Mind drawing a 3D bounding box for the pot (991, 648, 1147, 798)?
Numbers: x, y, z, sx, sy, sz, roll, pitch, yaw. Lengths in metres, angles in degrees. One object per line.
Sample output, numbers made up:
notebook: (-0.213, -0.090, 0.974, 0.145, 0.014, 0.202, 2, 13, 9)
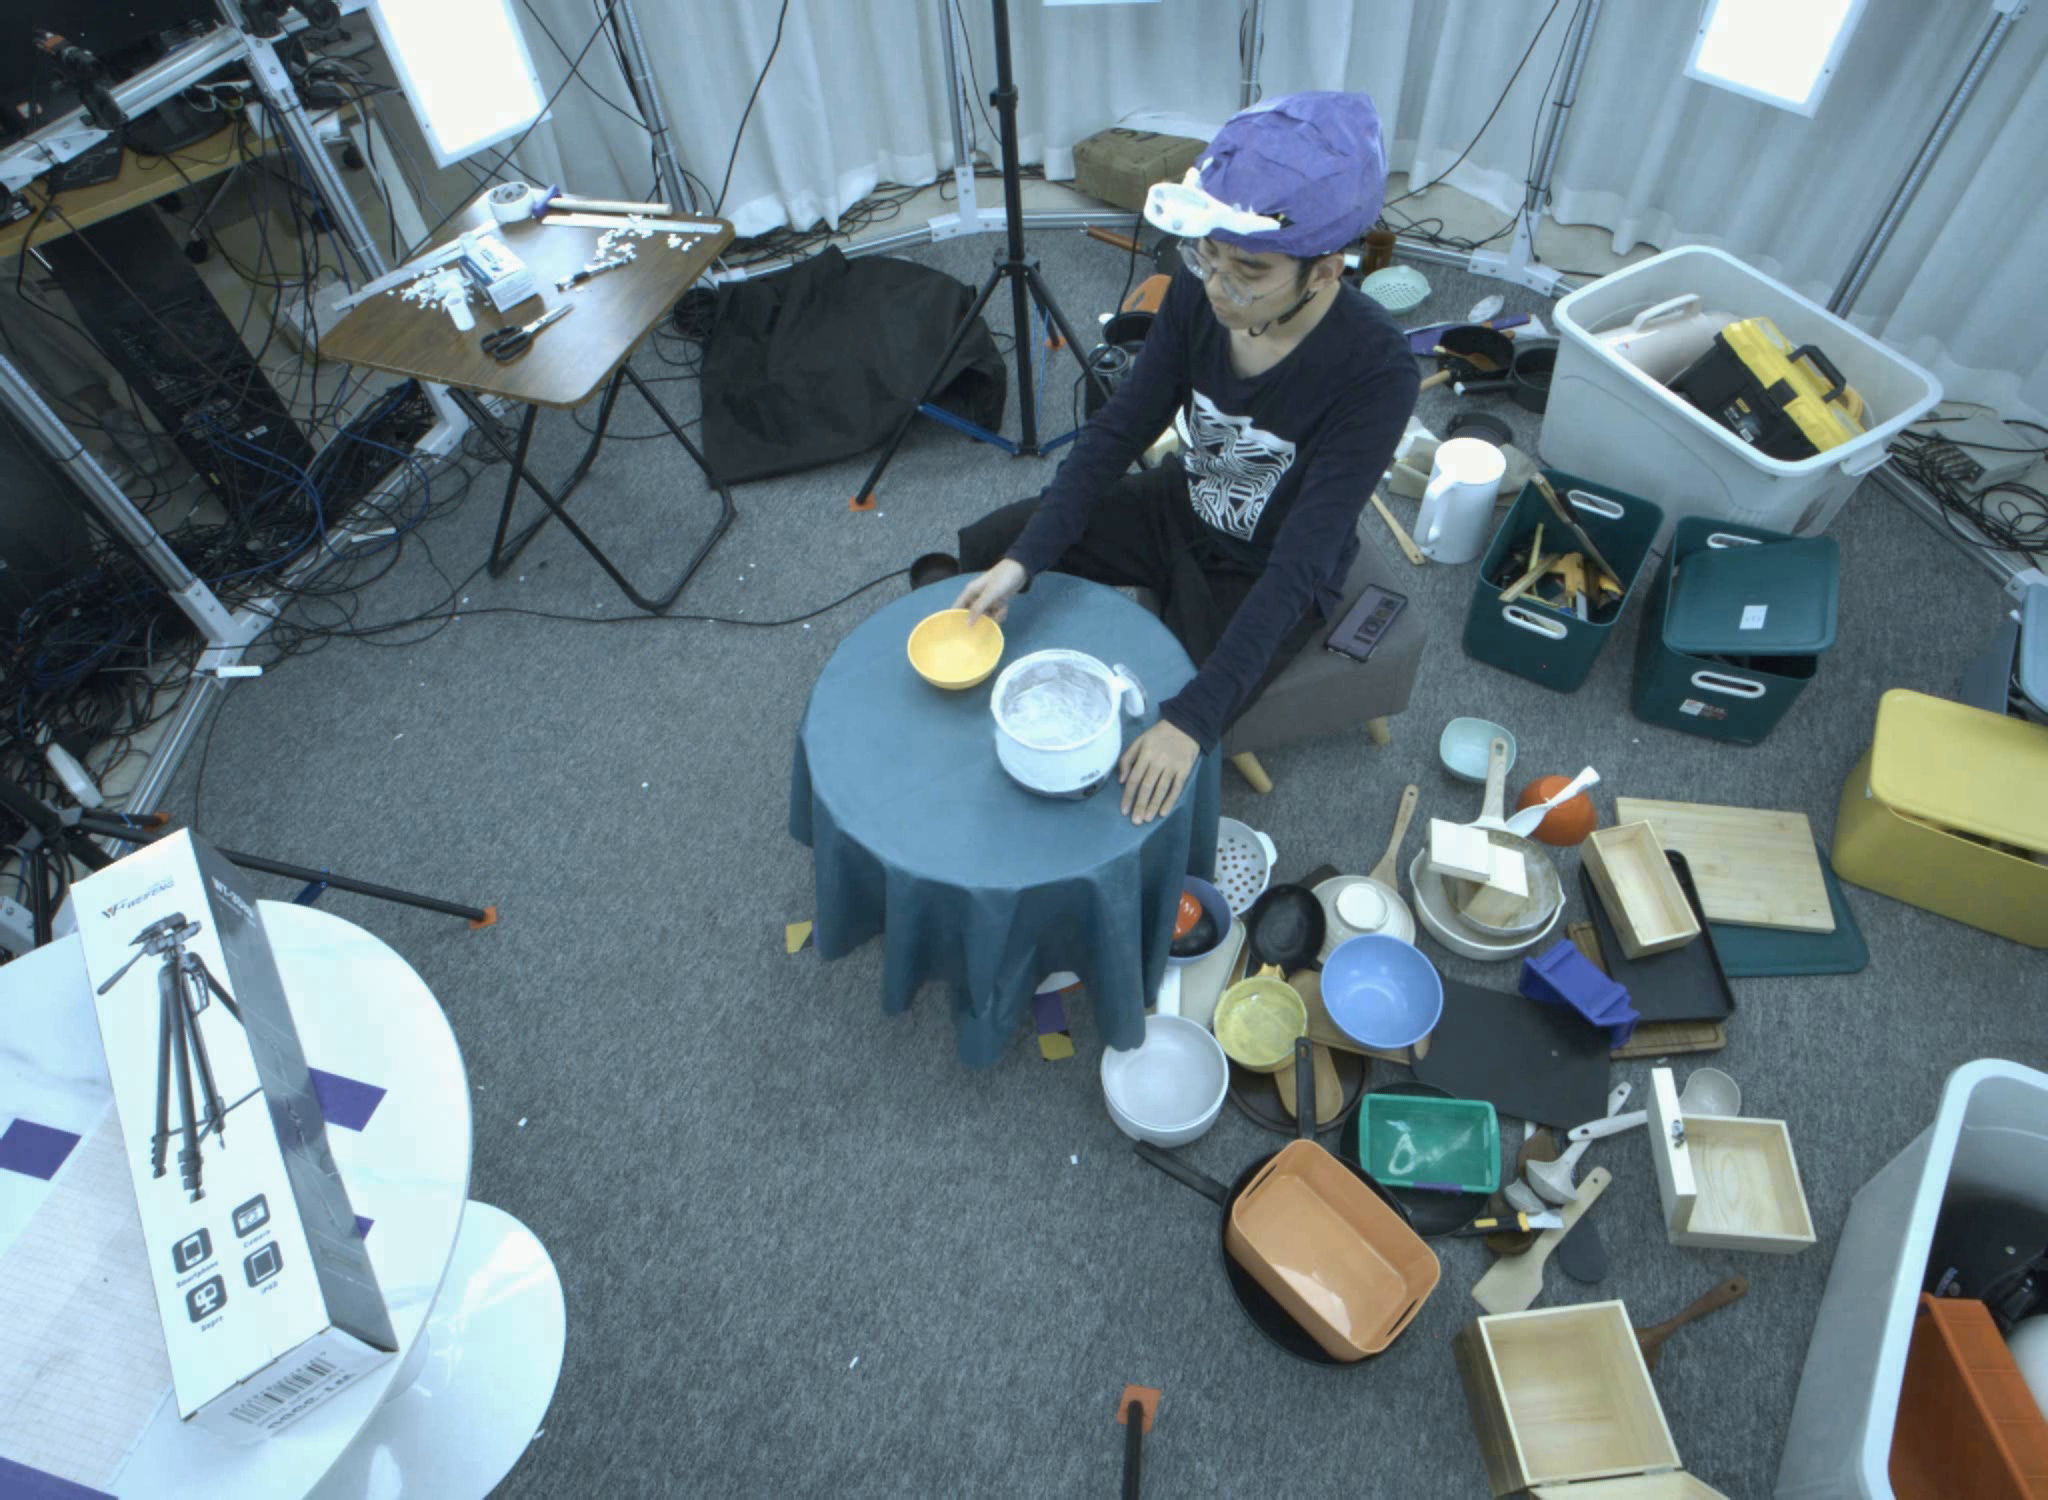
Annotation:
pot: (0.070, -0.047, 1.741, 0.235, 0.138, 0.175, -28, 61, -16)

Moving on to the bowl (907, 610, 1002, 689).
bowl: (-0.103, -0.141, 1.860, 0.145, 0.061, 0.144, 0, 53, 2)
